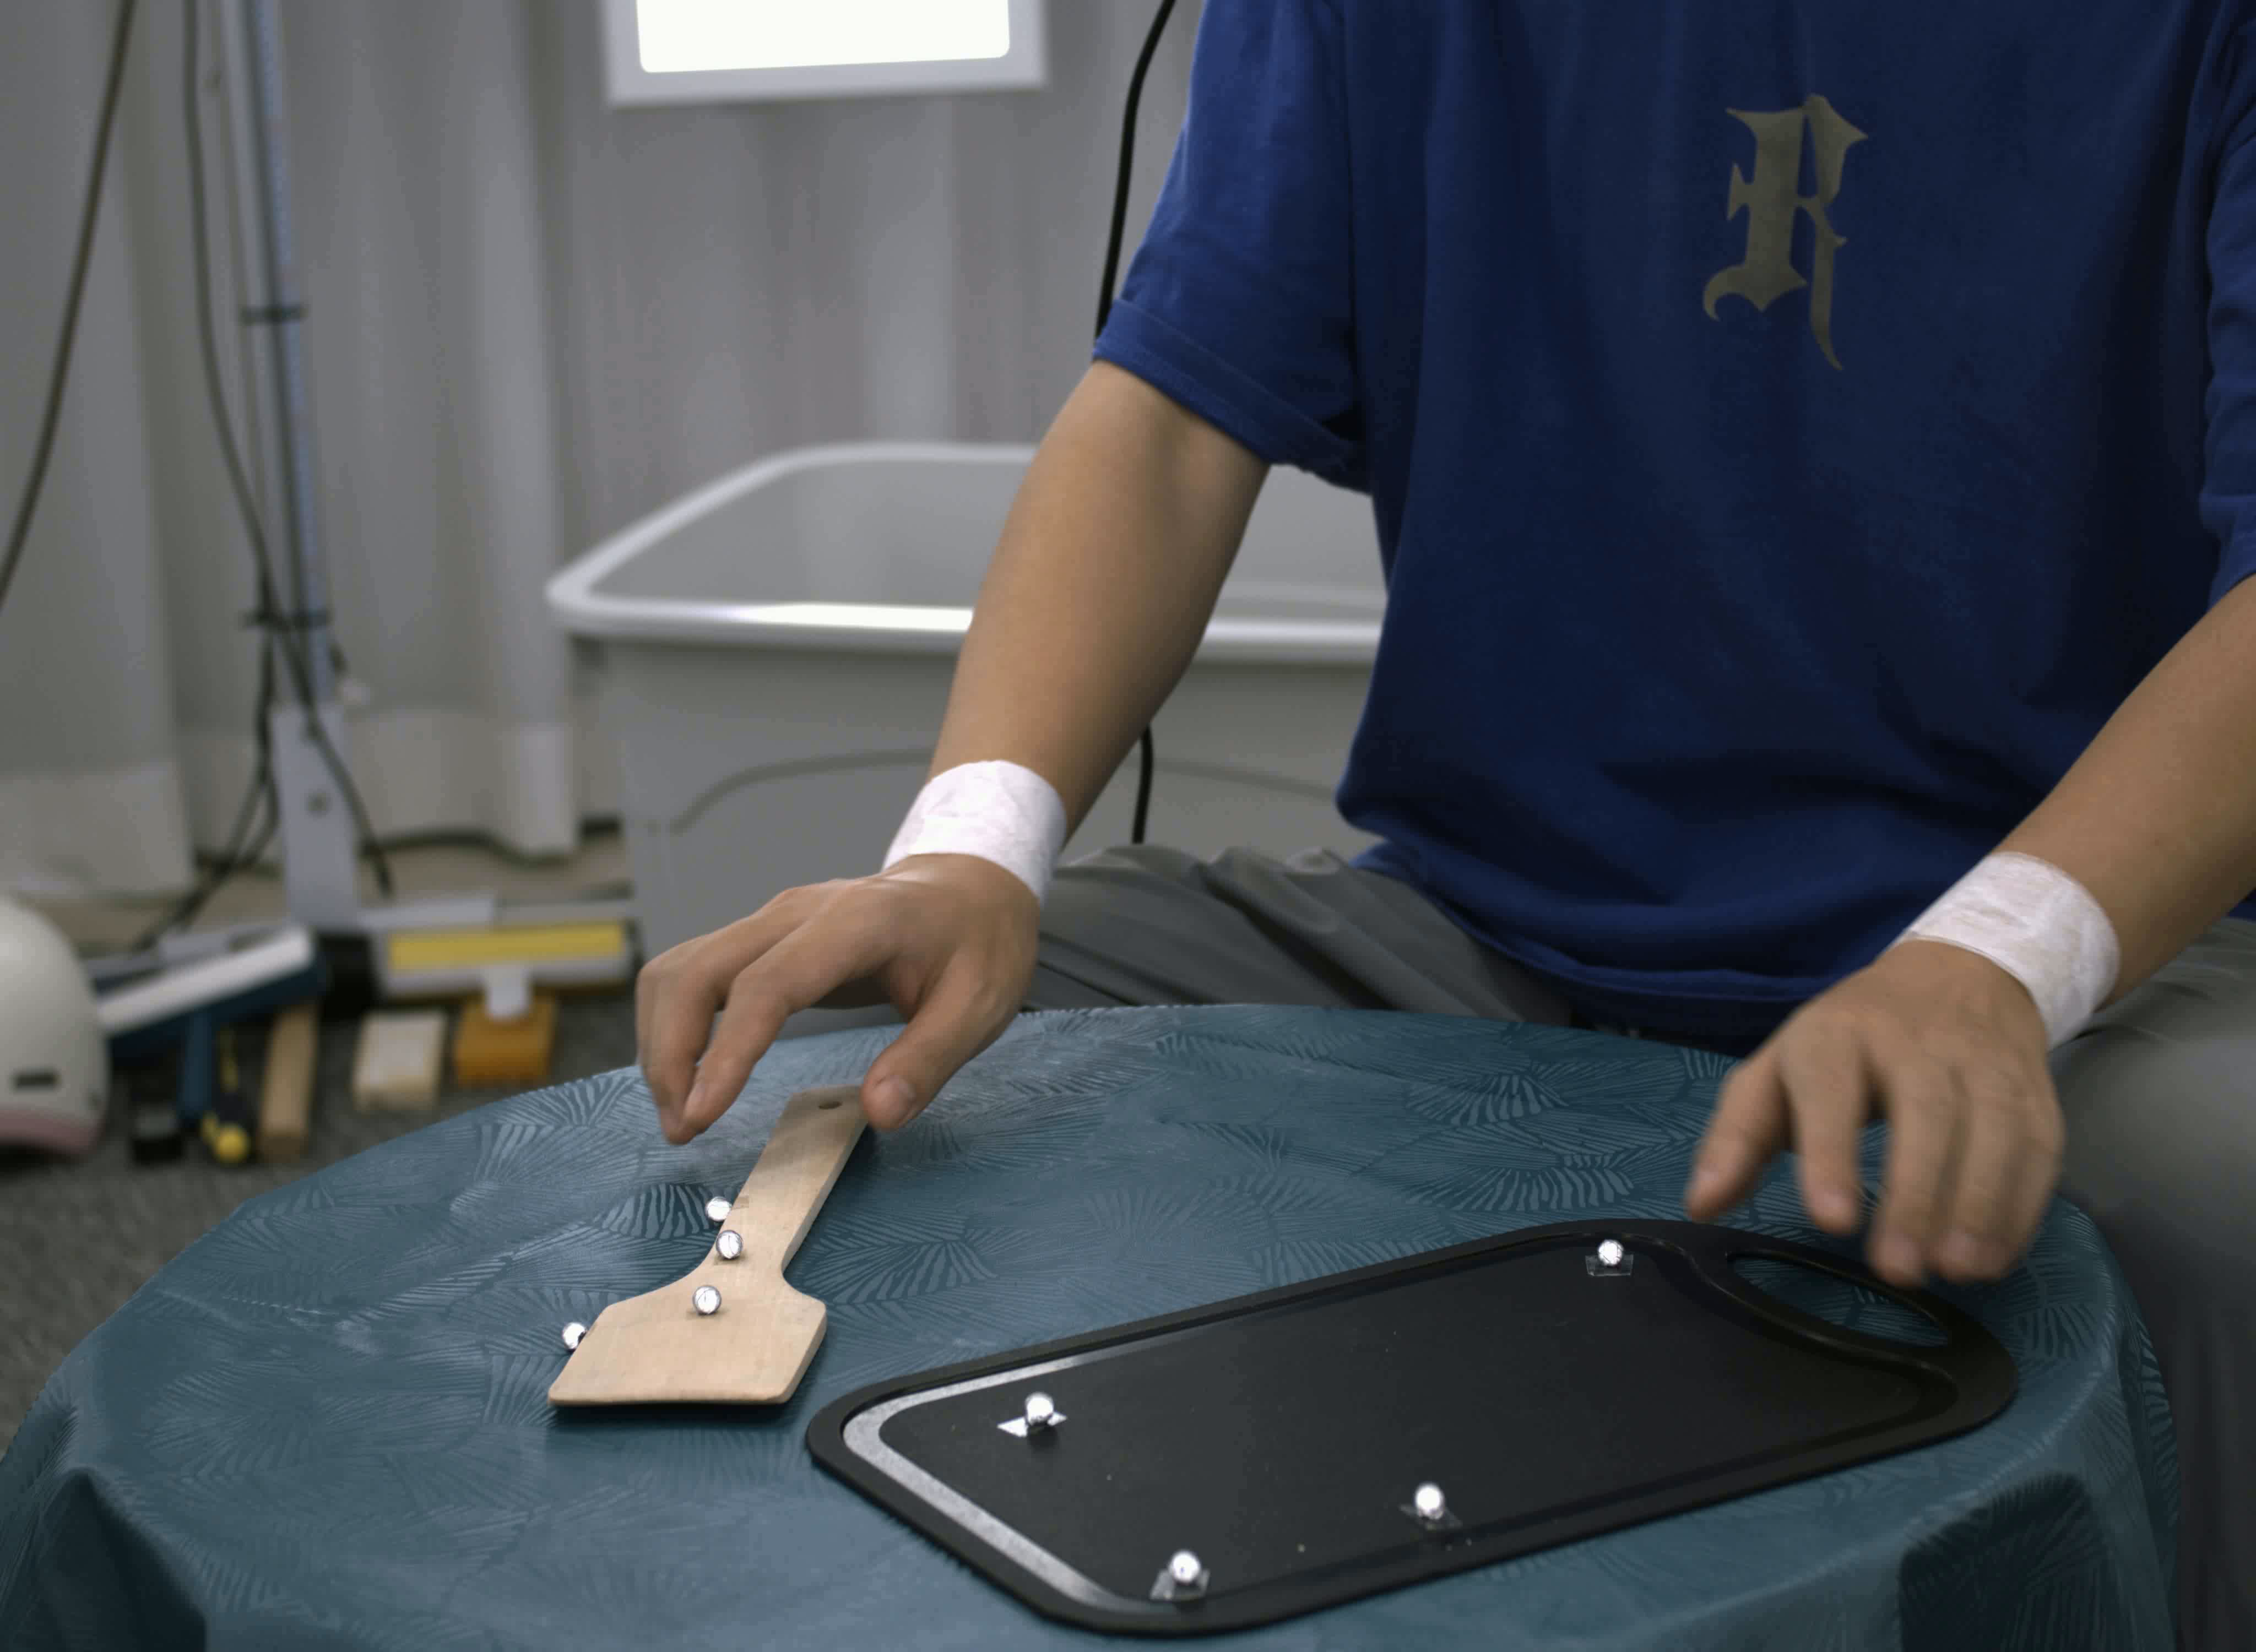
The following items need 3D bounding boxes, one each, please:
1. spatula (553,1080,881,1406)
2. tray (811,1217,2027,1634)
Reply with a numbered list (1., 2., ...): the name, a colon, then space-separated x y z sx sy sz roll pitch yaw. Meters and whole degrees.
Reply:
1. spatula: -0.113 0.126 1.673 0.072 0.010 0.295 -2 15 7
2. tray: 0.086 0.158 1.516 0.324 0.010 0.213 -10 17 -27
